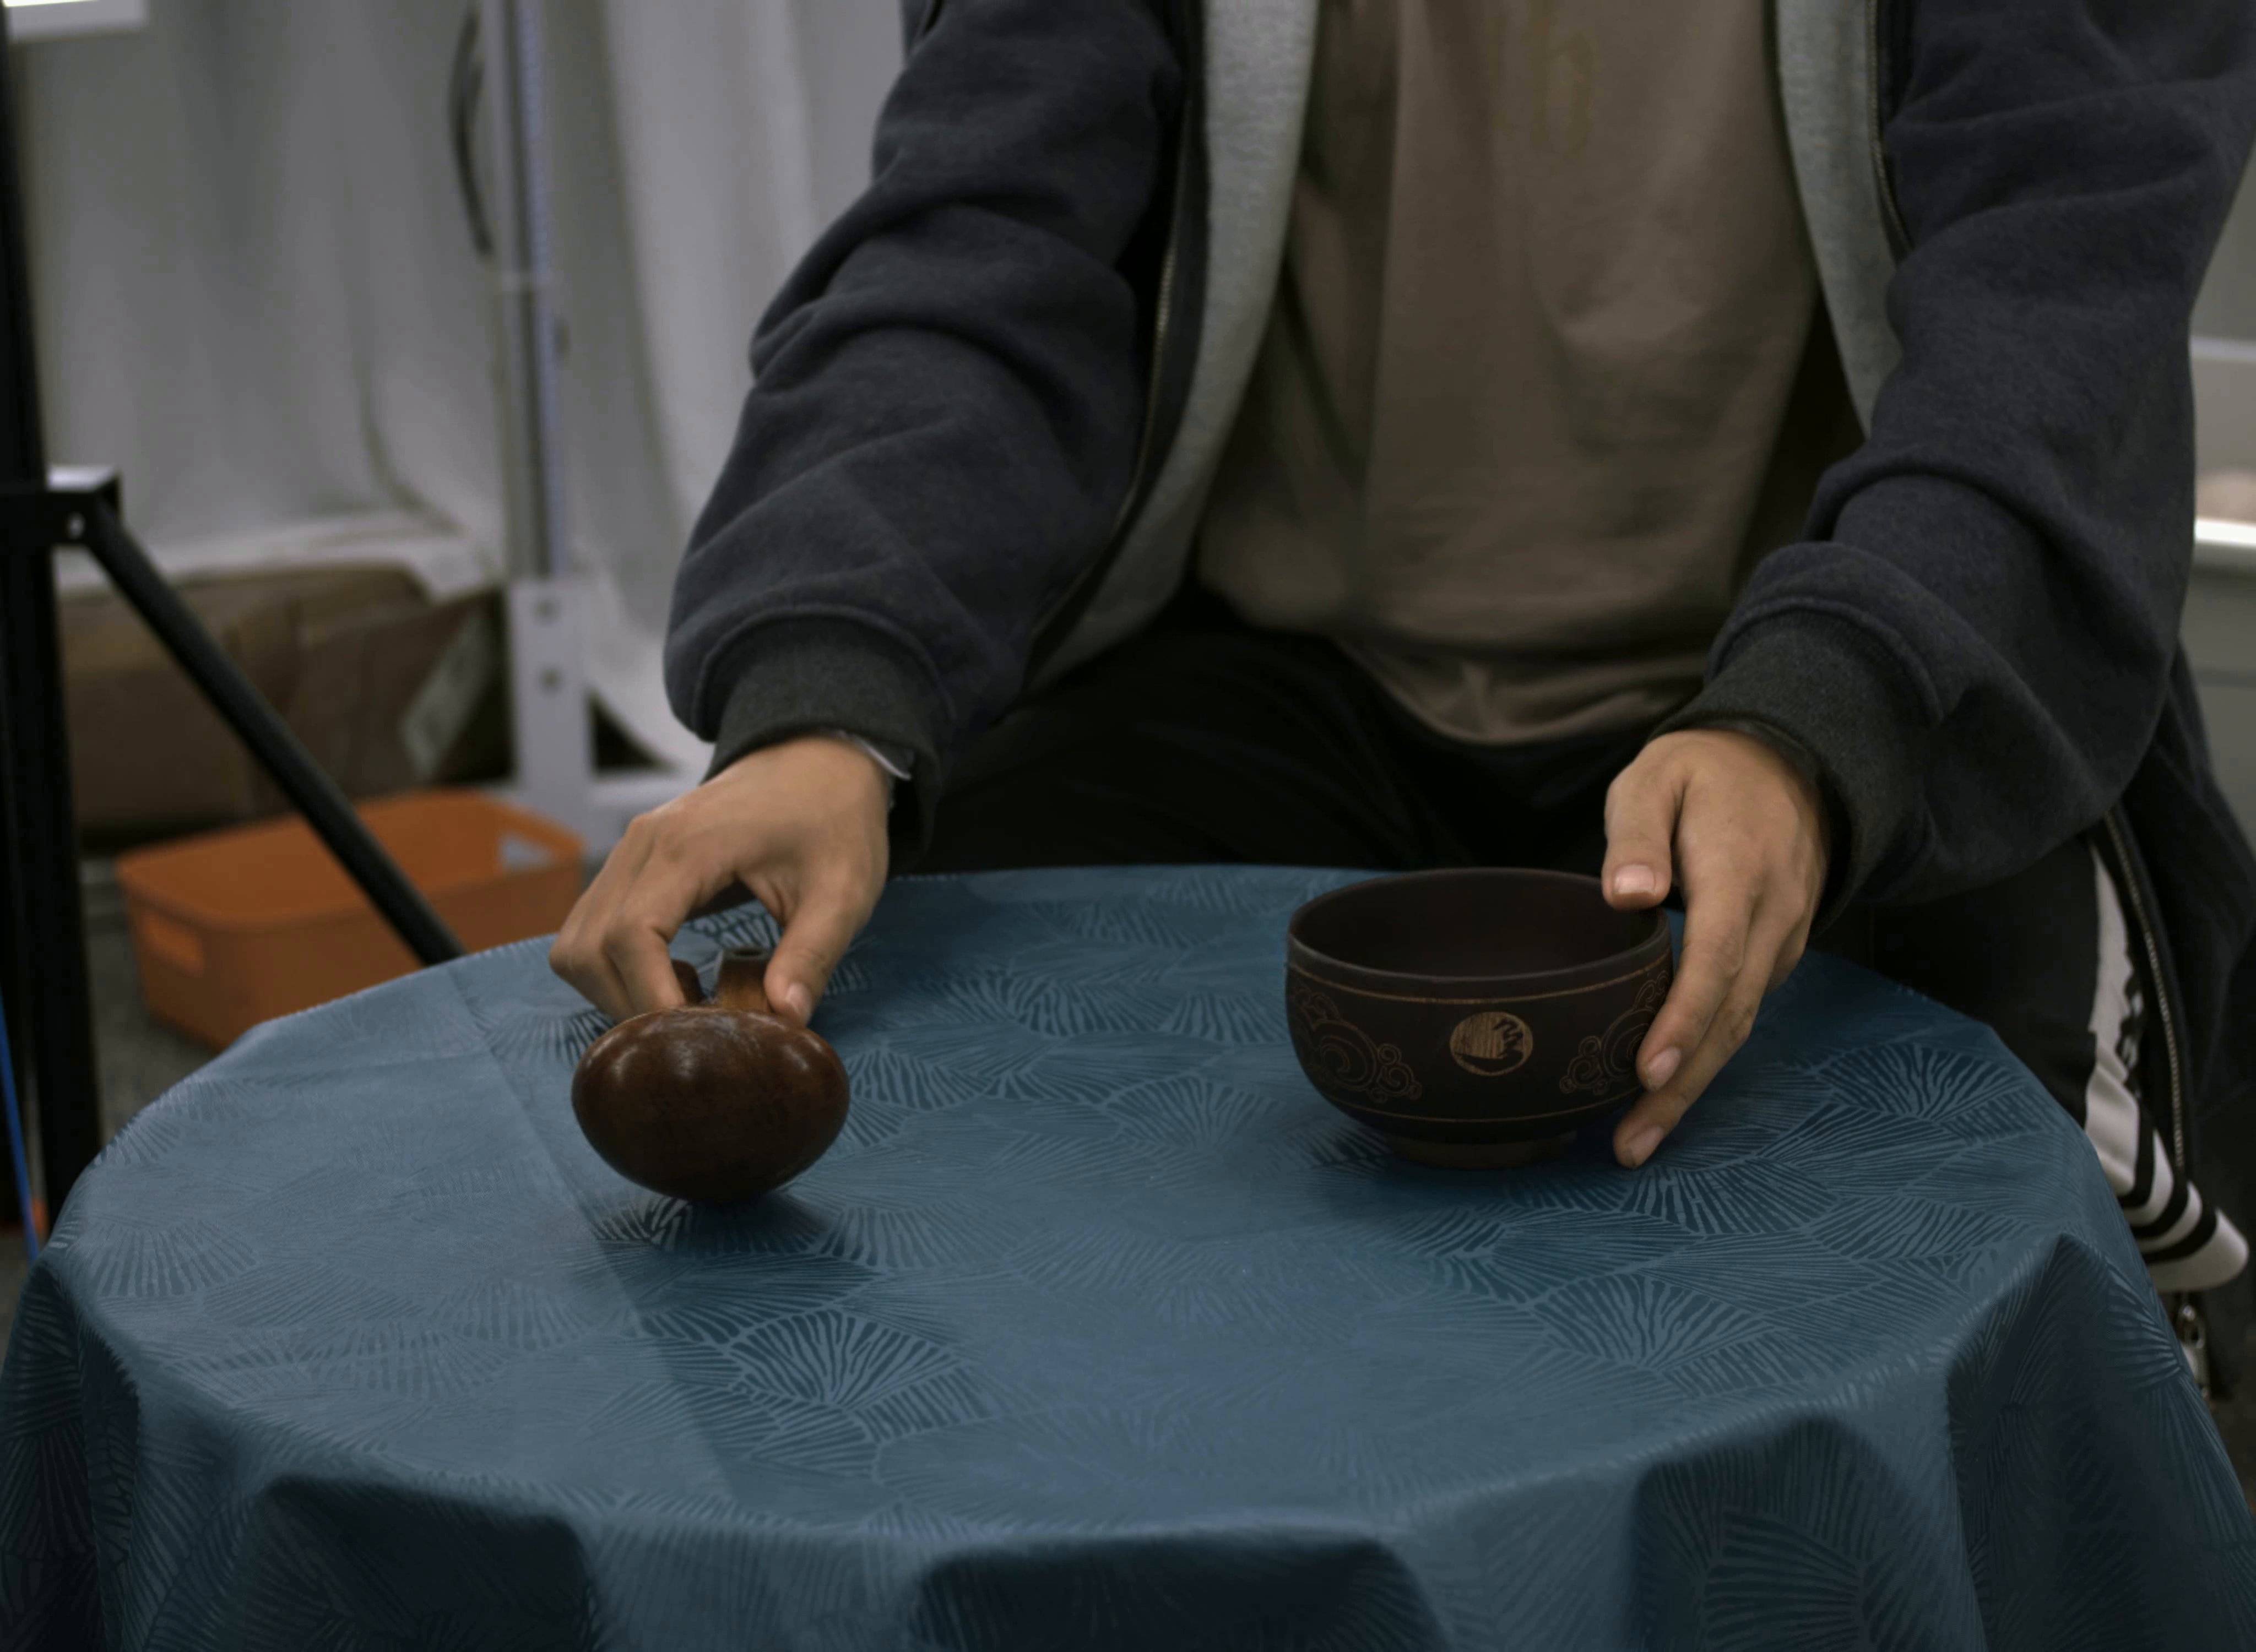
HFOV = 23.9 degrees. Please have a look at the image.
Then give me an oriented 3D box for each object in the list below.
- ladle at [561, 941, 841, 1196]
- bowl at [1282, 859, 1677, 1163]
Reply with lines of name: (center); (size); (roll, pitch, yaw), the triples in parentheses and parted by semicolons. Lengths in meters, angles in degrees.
ladle: (-0.121, 0.050, 1.642); (0.081, 0.076, 0.275); (2, 16, 1)
bowl: (0.105, 0.059, 1.580); (0.117, 0.070, 0.118); (-3, 16, 0)
